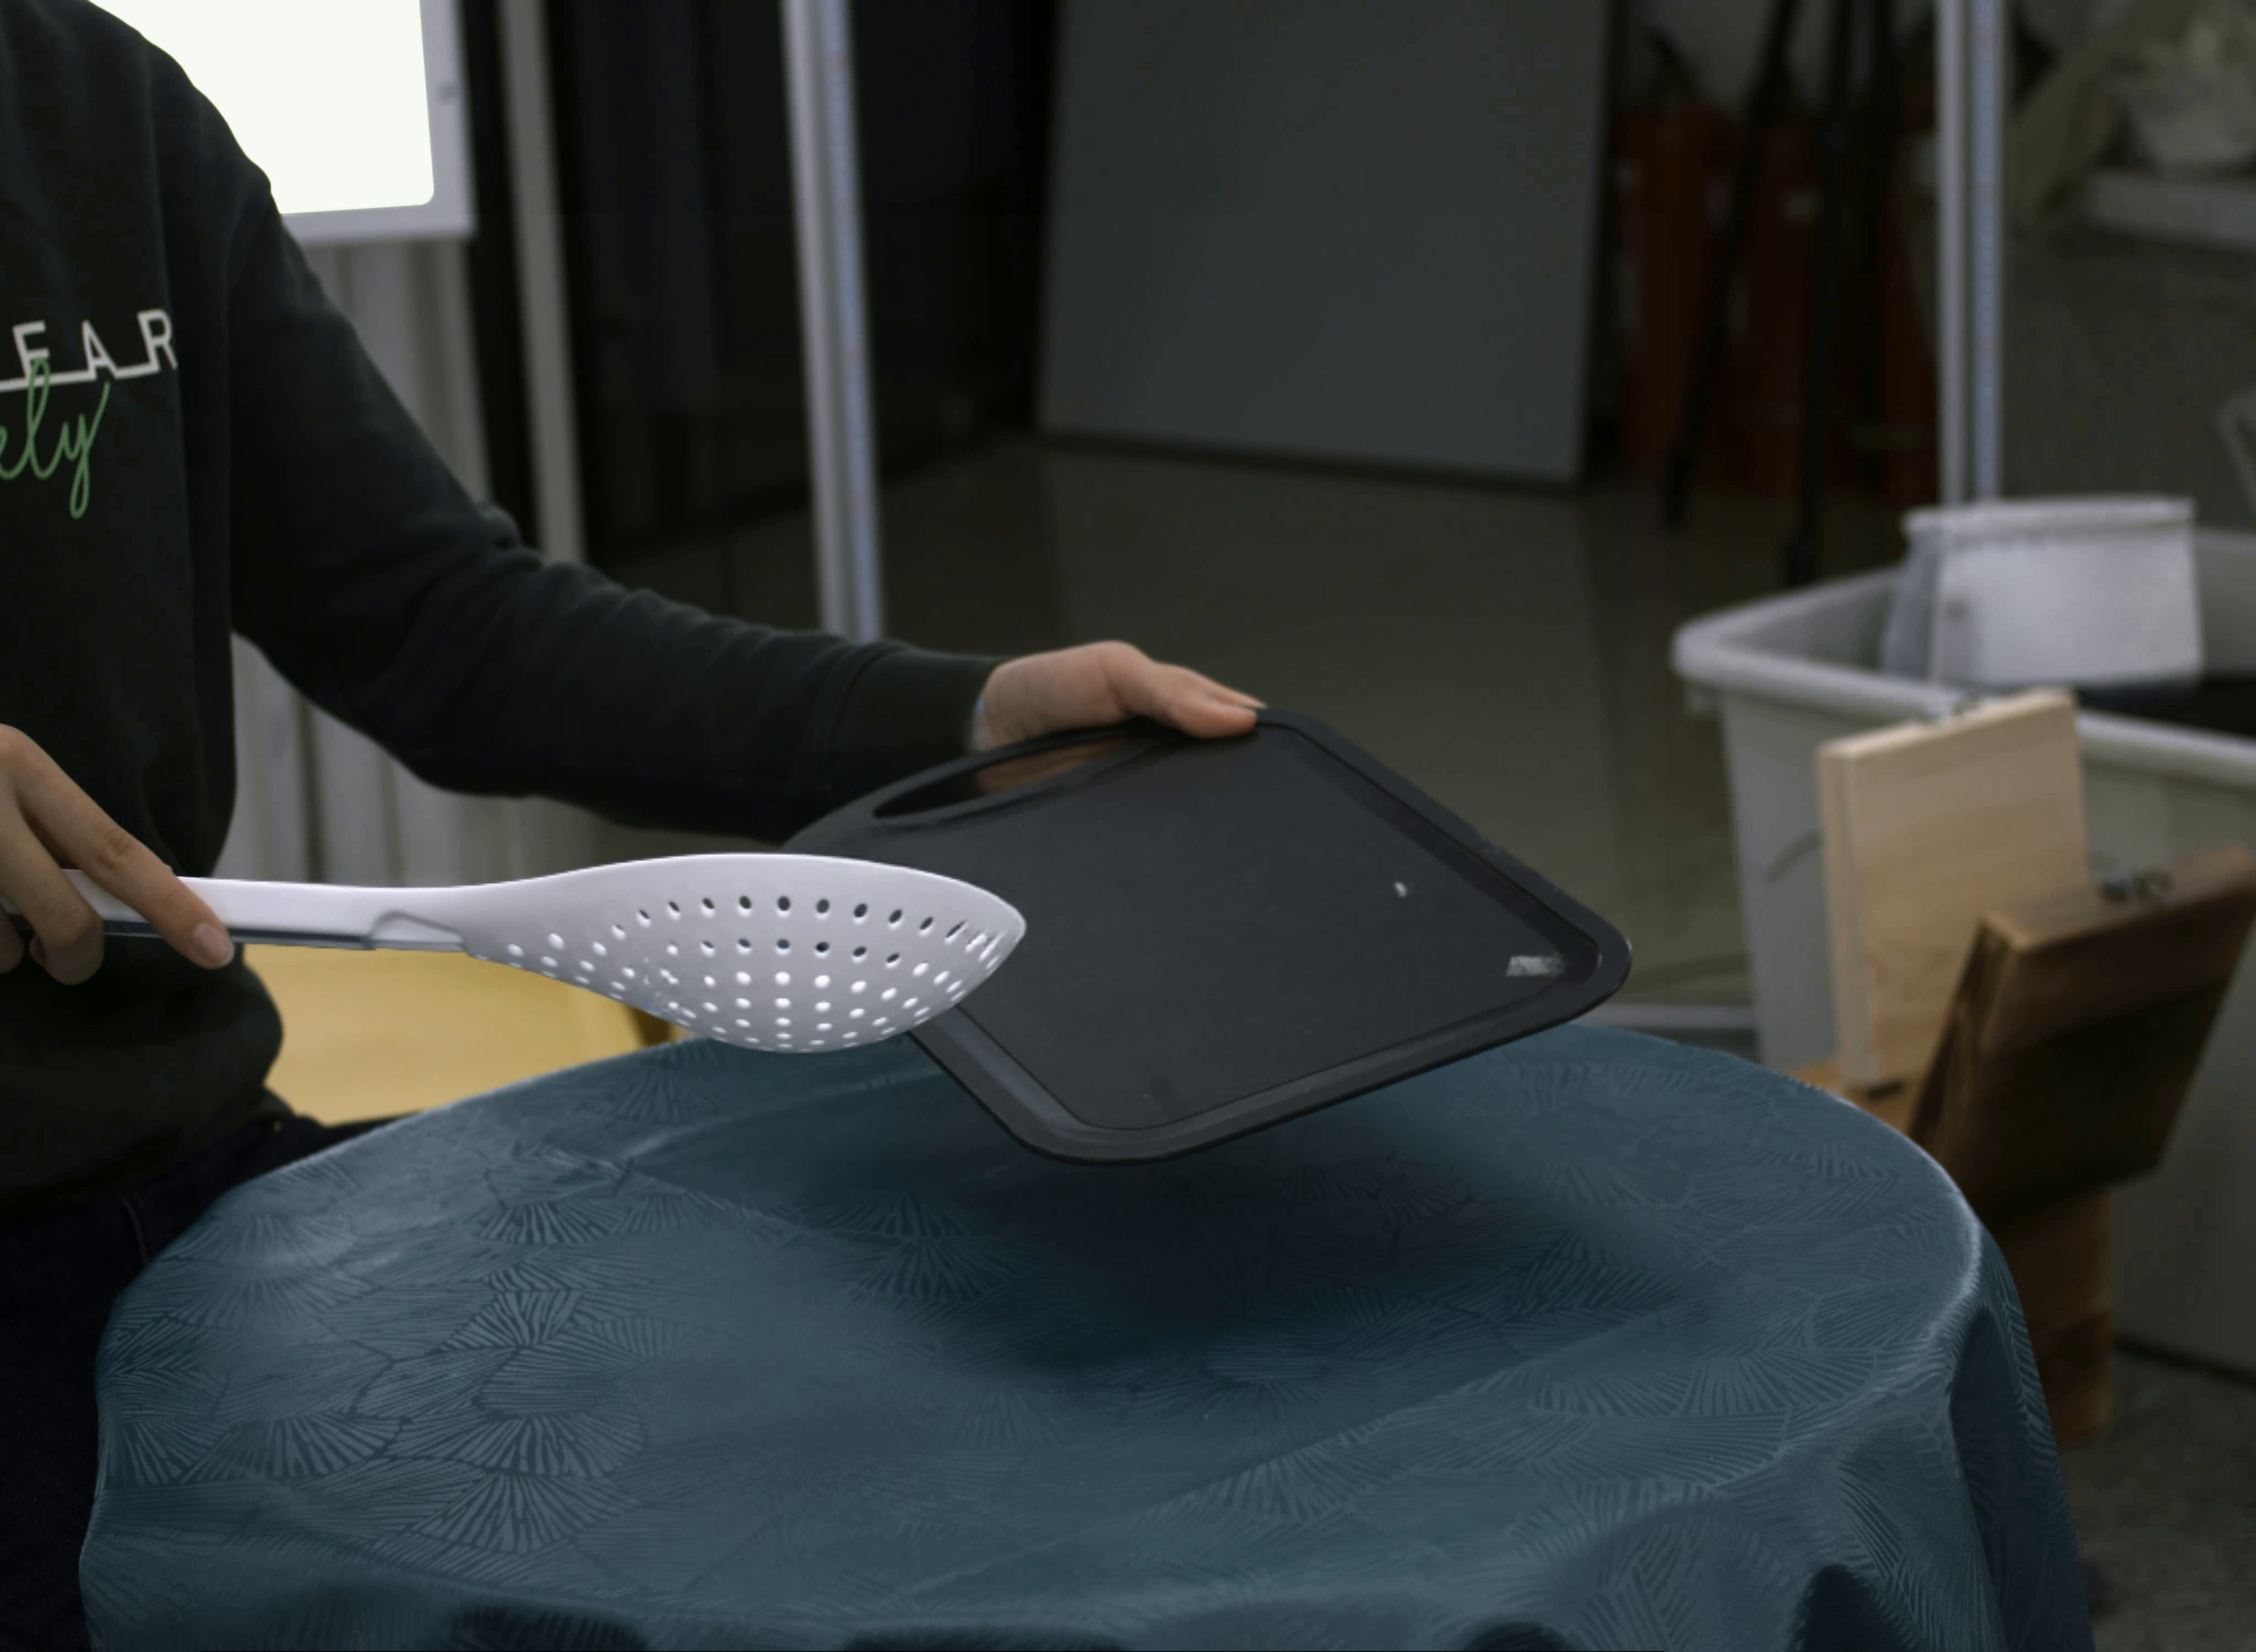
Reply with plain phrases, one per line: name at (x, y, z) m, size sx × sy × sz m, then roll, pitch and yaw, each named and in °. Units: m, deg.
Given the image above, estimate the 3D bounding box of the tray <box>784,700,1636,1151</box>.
tray at (0.014, 0.023, 1.756) m, size 0.207 × 0.010 × 0.329 m, roll -19°, pitch 25°, yaw -17°

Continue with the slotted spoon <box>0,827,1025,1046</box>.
slotted spoon at (-0.203, 0.024, 1.551) m, size 0.346 × 0.046 × 0.136 m, roll 7°, pitch -17°, yaw 3°
